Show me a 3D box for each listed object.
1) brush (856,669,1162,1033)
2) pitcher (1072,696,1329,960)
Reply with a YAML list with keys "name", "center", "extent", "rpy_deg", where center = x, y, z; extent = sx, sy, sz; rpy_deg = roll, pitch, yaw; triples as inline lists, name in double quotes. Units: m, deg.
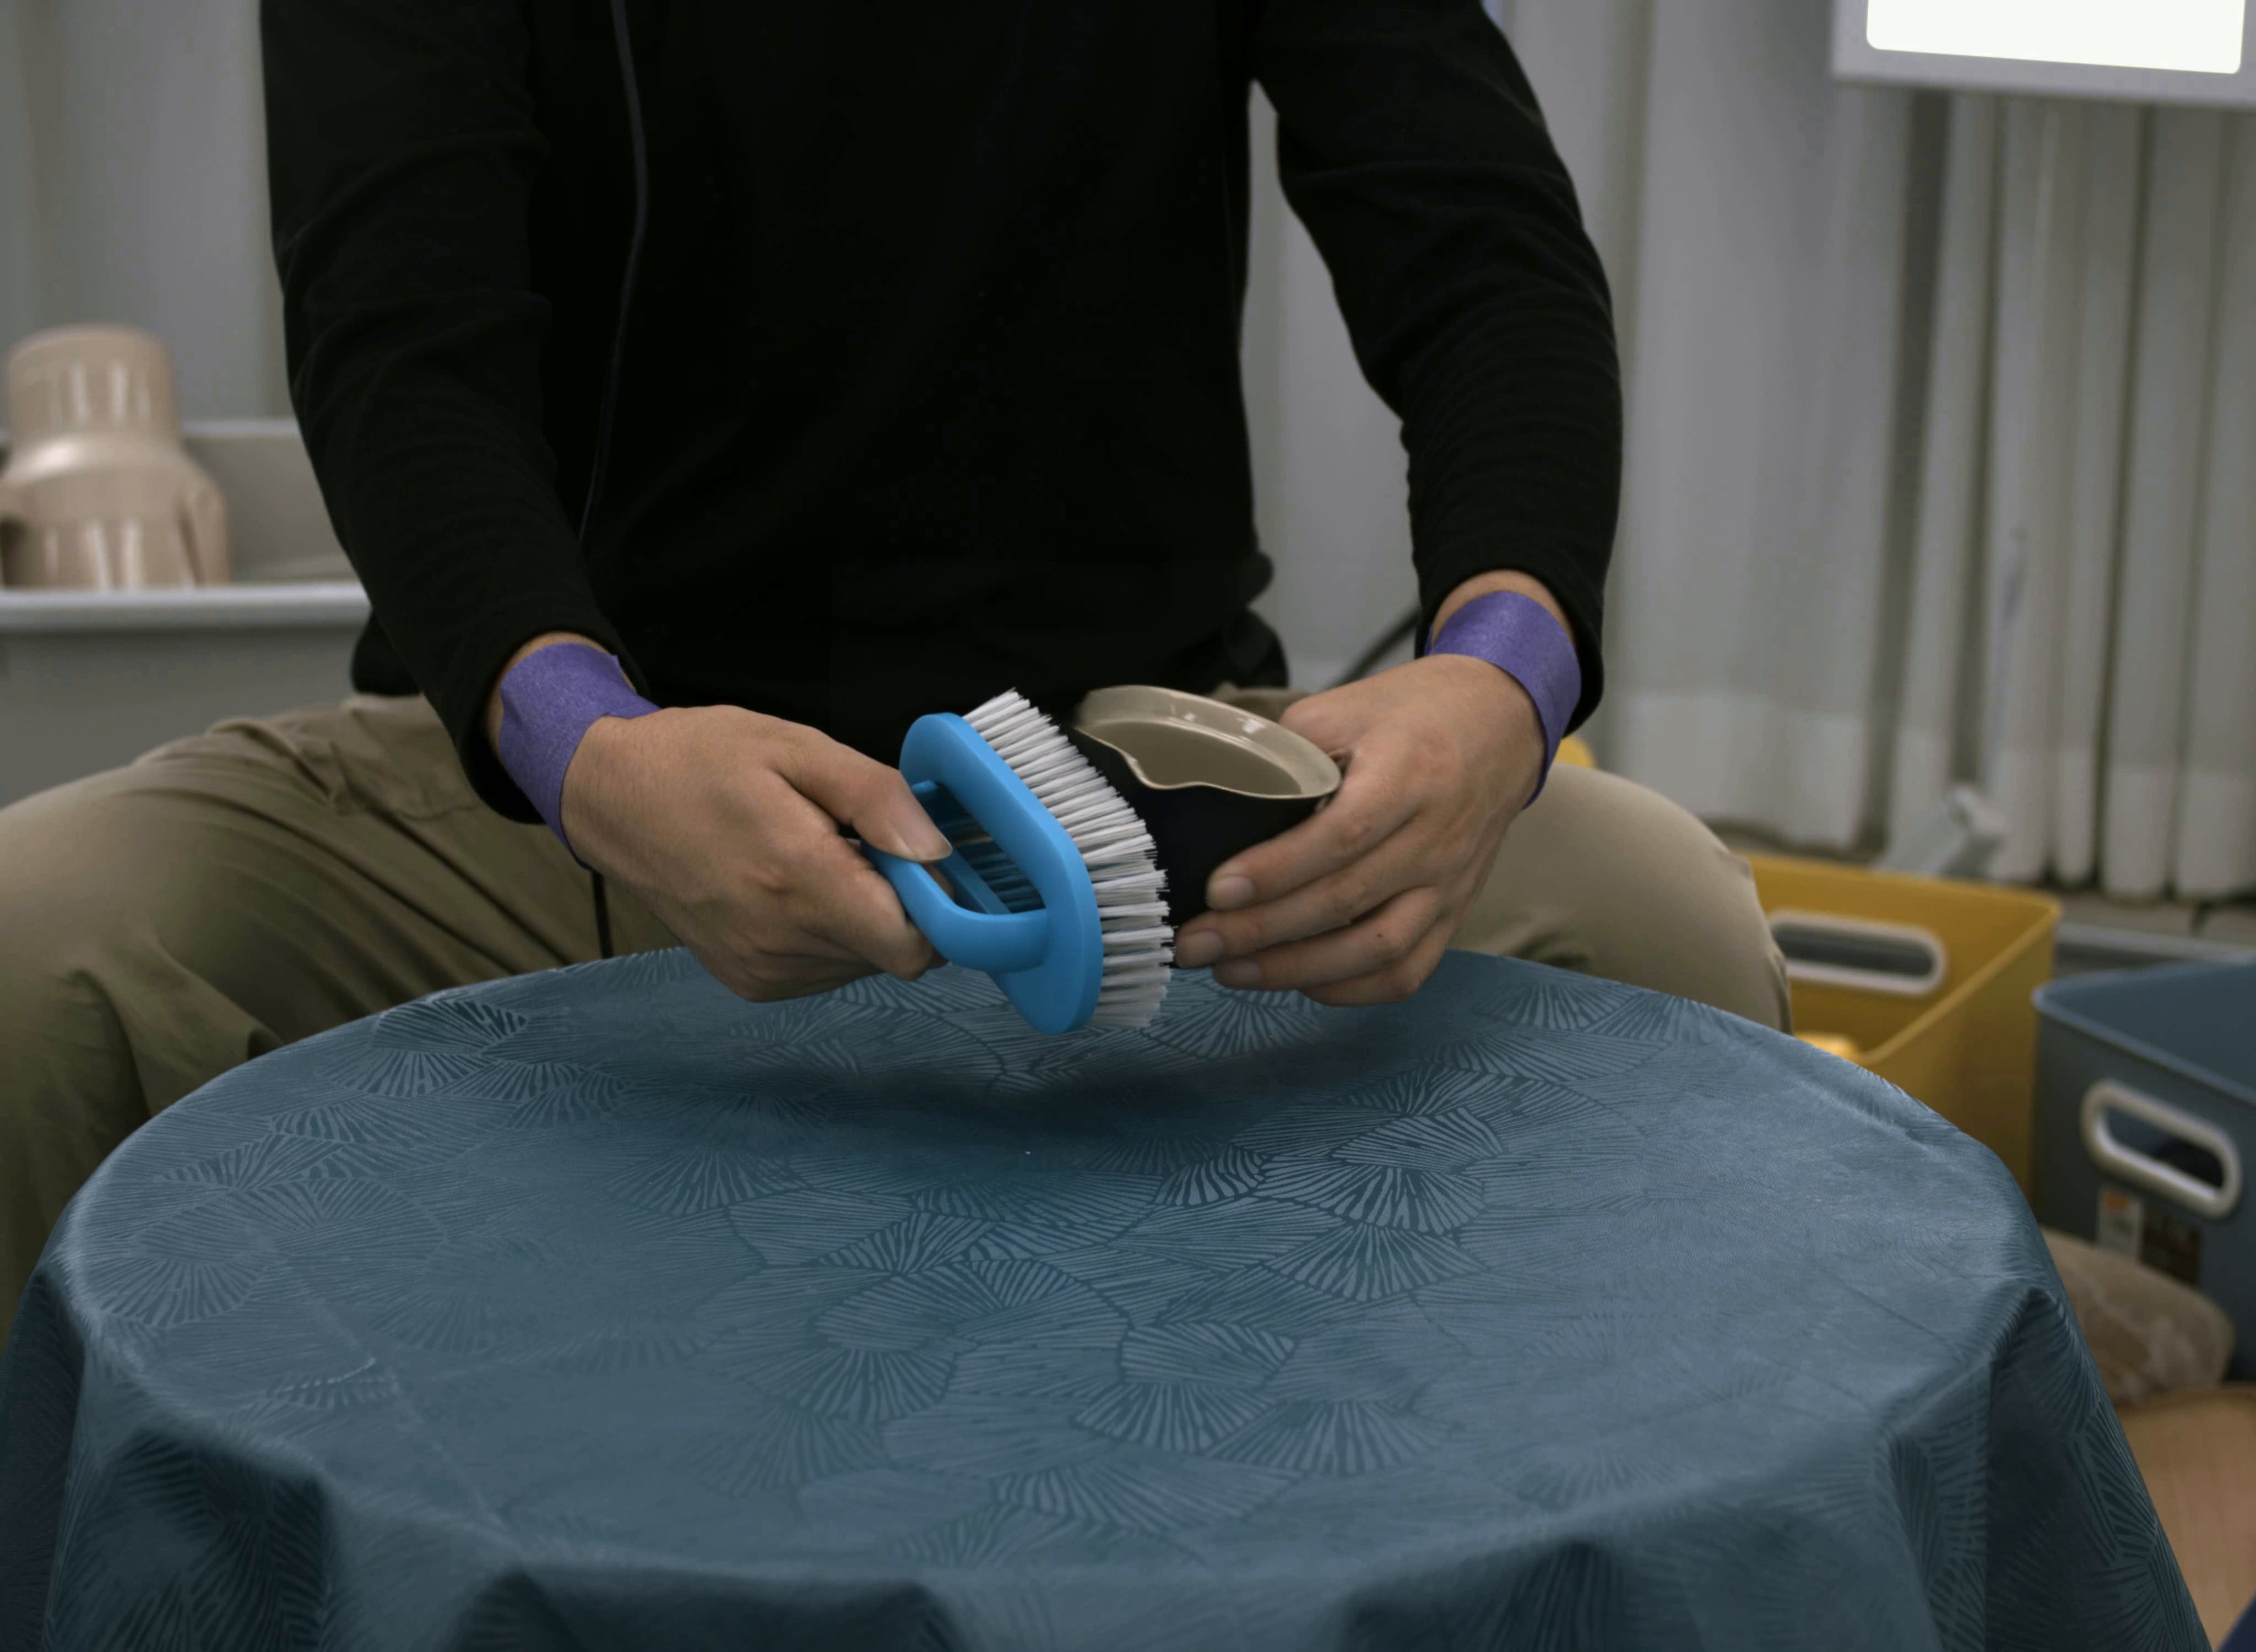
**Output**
- name: "brush"
  center: [-0.046, 0.012, 1.675]
  extent: [0.064, 0.085, 0.140]
  rpy_deg: [-13, 37, -22]
- name: "pitcher"
  center: [0.016, 0.002, 1.706]
  extent: [0.083, 0.072, 0.096]
  rpy_deg: [24, 21, 18]
